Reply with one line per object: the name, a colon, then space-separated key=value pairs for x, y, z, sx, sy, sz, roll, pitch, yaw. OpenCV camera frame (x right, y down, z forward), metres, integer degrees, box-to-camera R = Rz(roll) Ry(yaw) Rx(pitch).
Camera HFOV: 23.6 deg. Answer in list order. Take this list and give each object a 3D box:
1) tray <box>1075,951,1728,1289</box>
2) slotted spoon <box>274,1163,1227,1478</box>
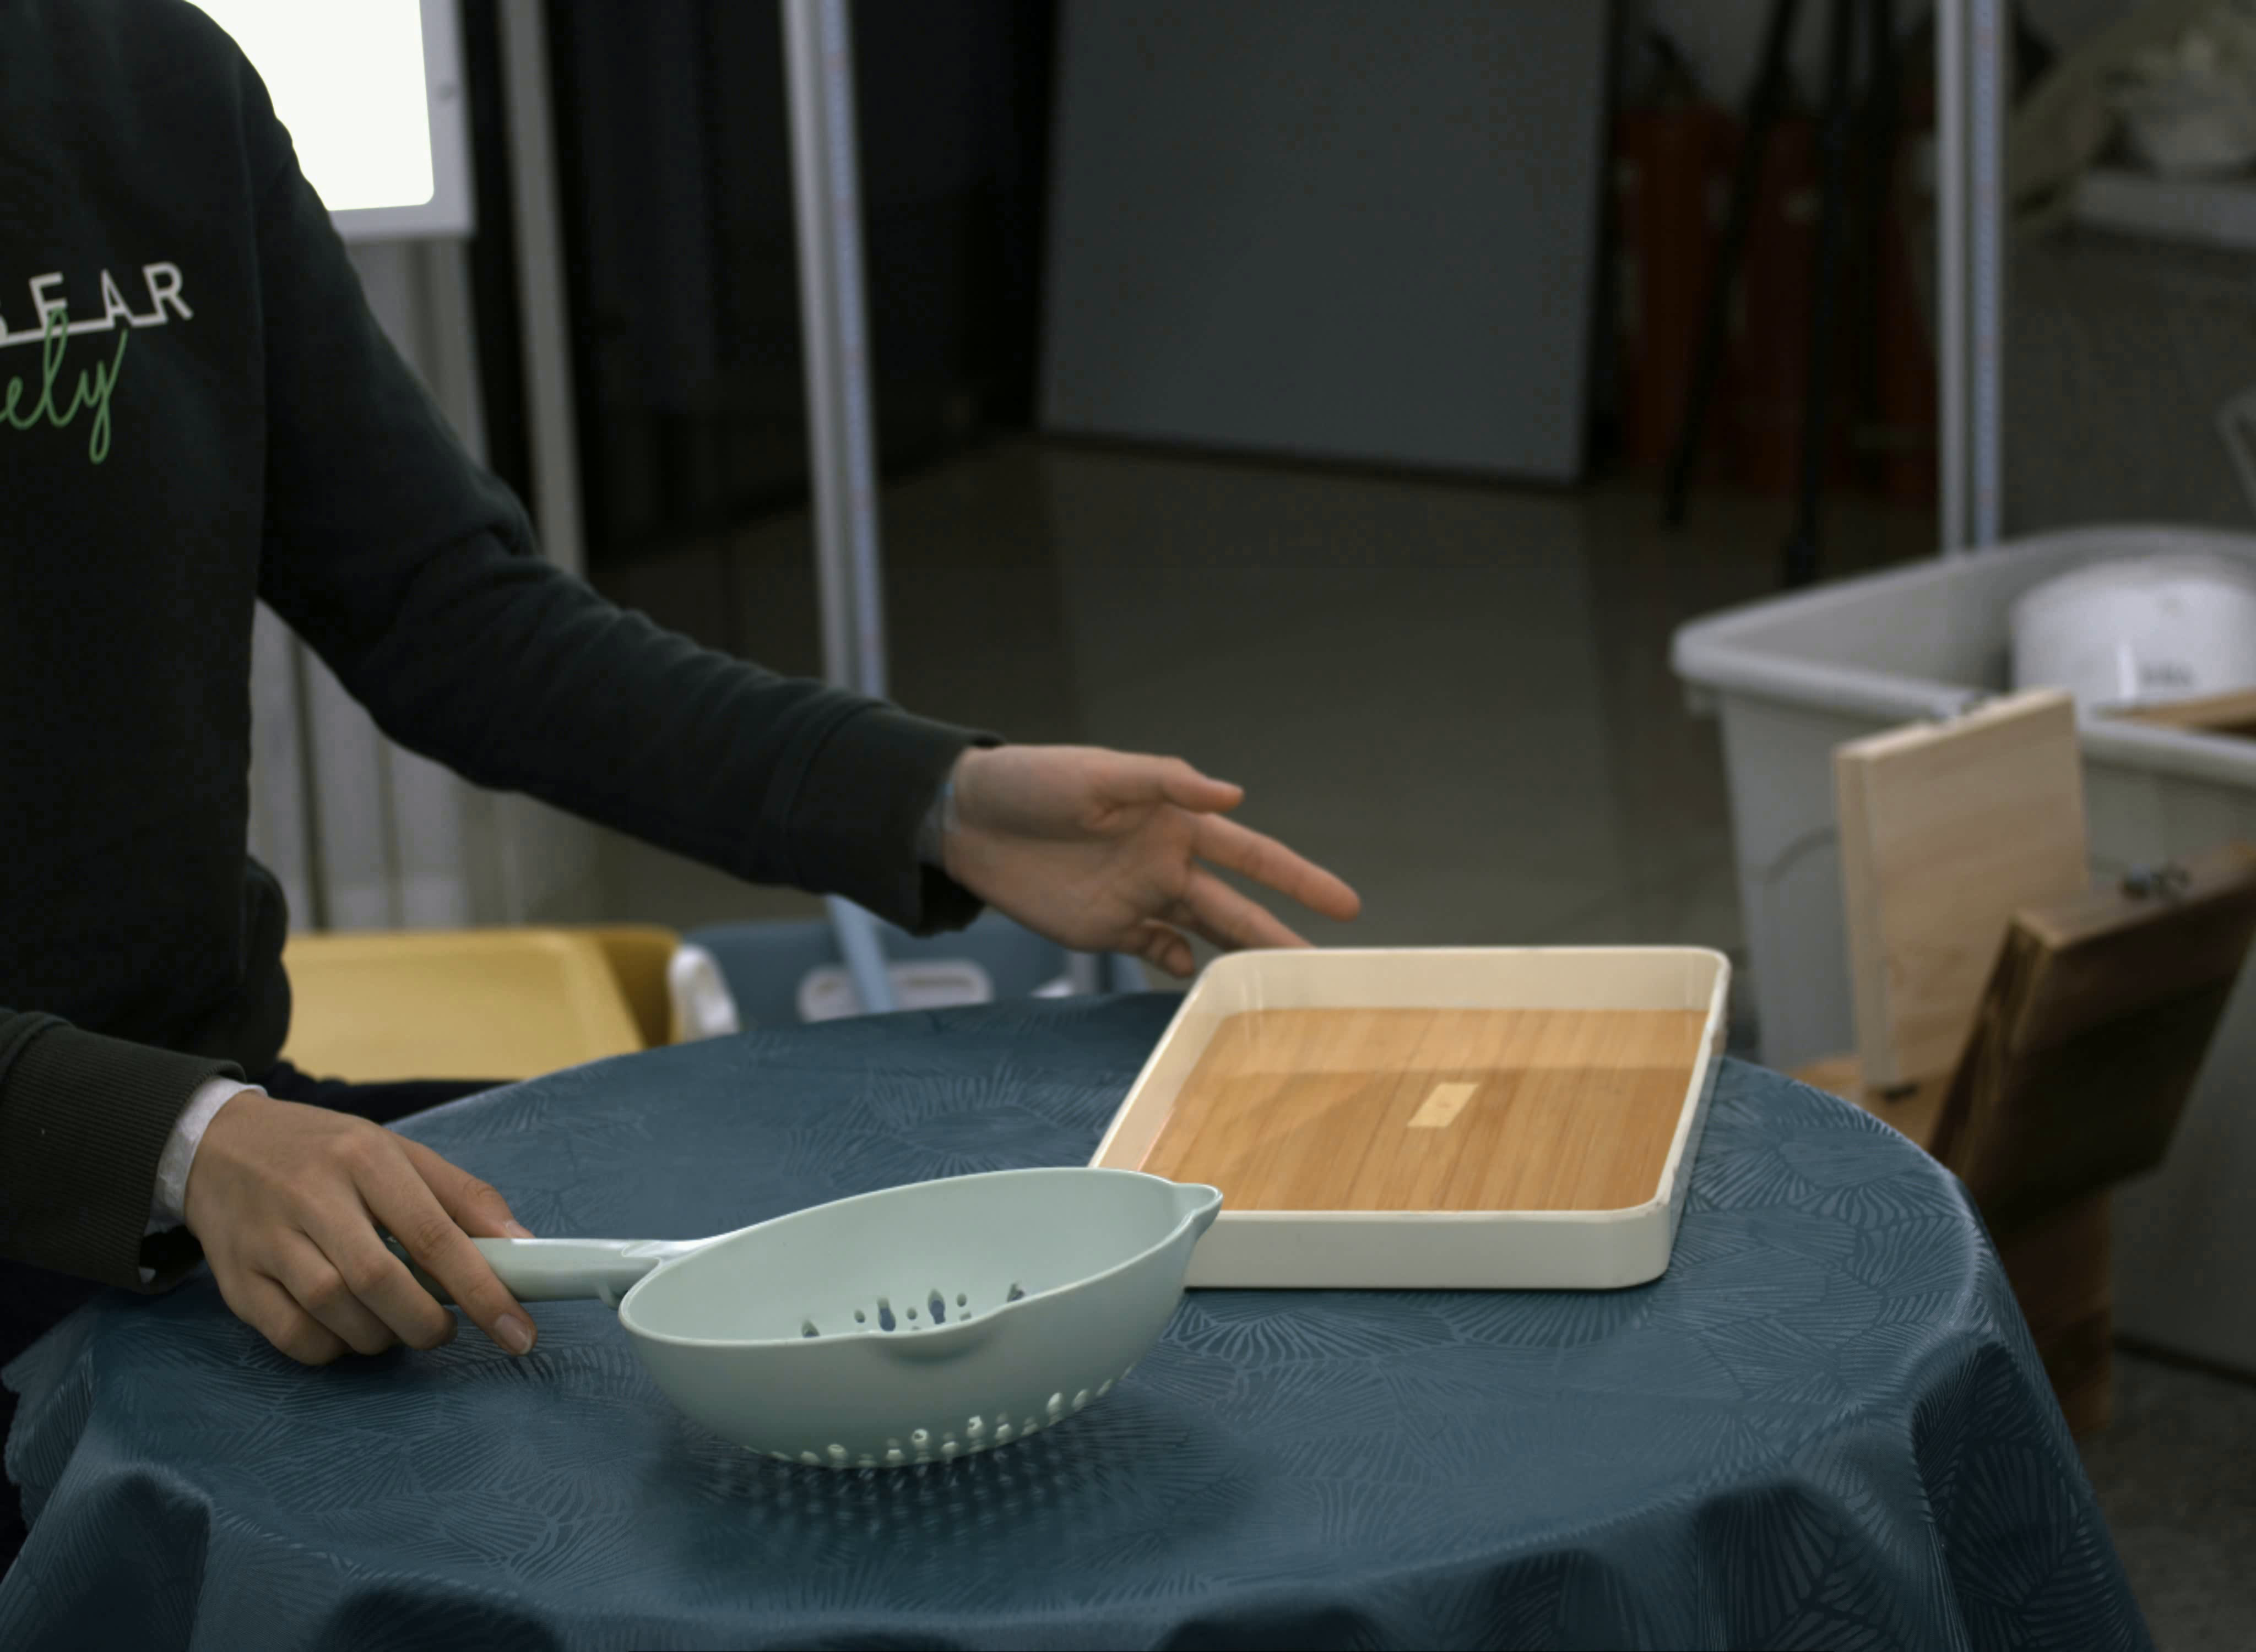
tray: x=0.097 y=0.095 z=1.795 sx=0.190 sy=0.028 sz=0.299 roll=-1 pitch=14 yaw=12
slotted spoon: x=-0.133 y=0.138 z=1.608 sx=0.361 sy=0.076 sz=0.166 roll=7 pitch=18 yaw=39
